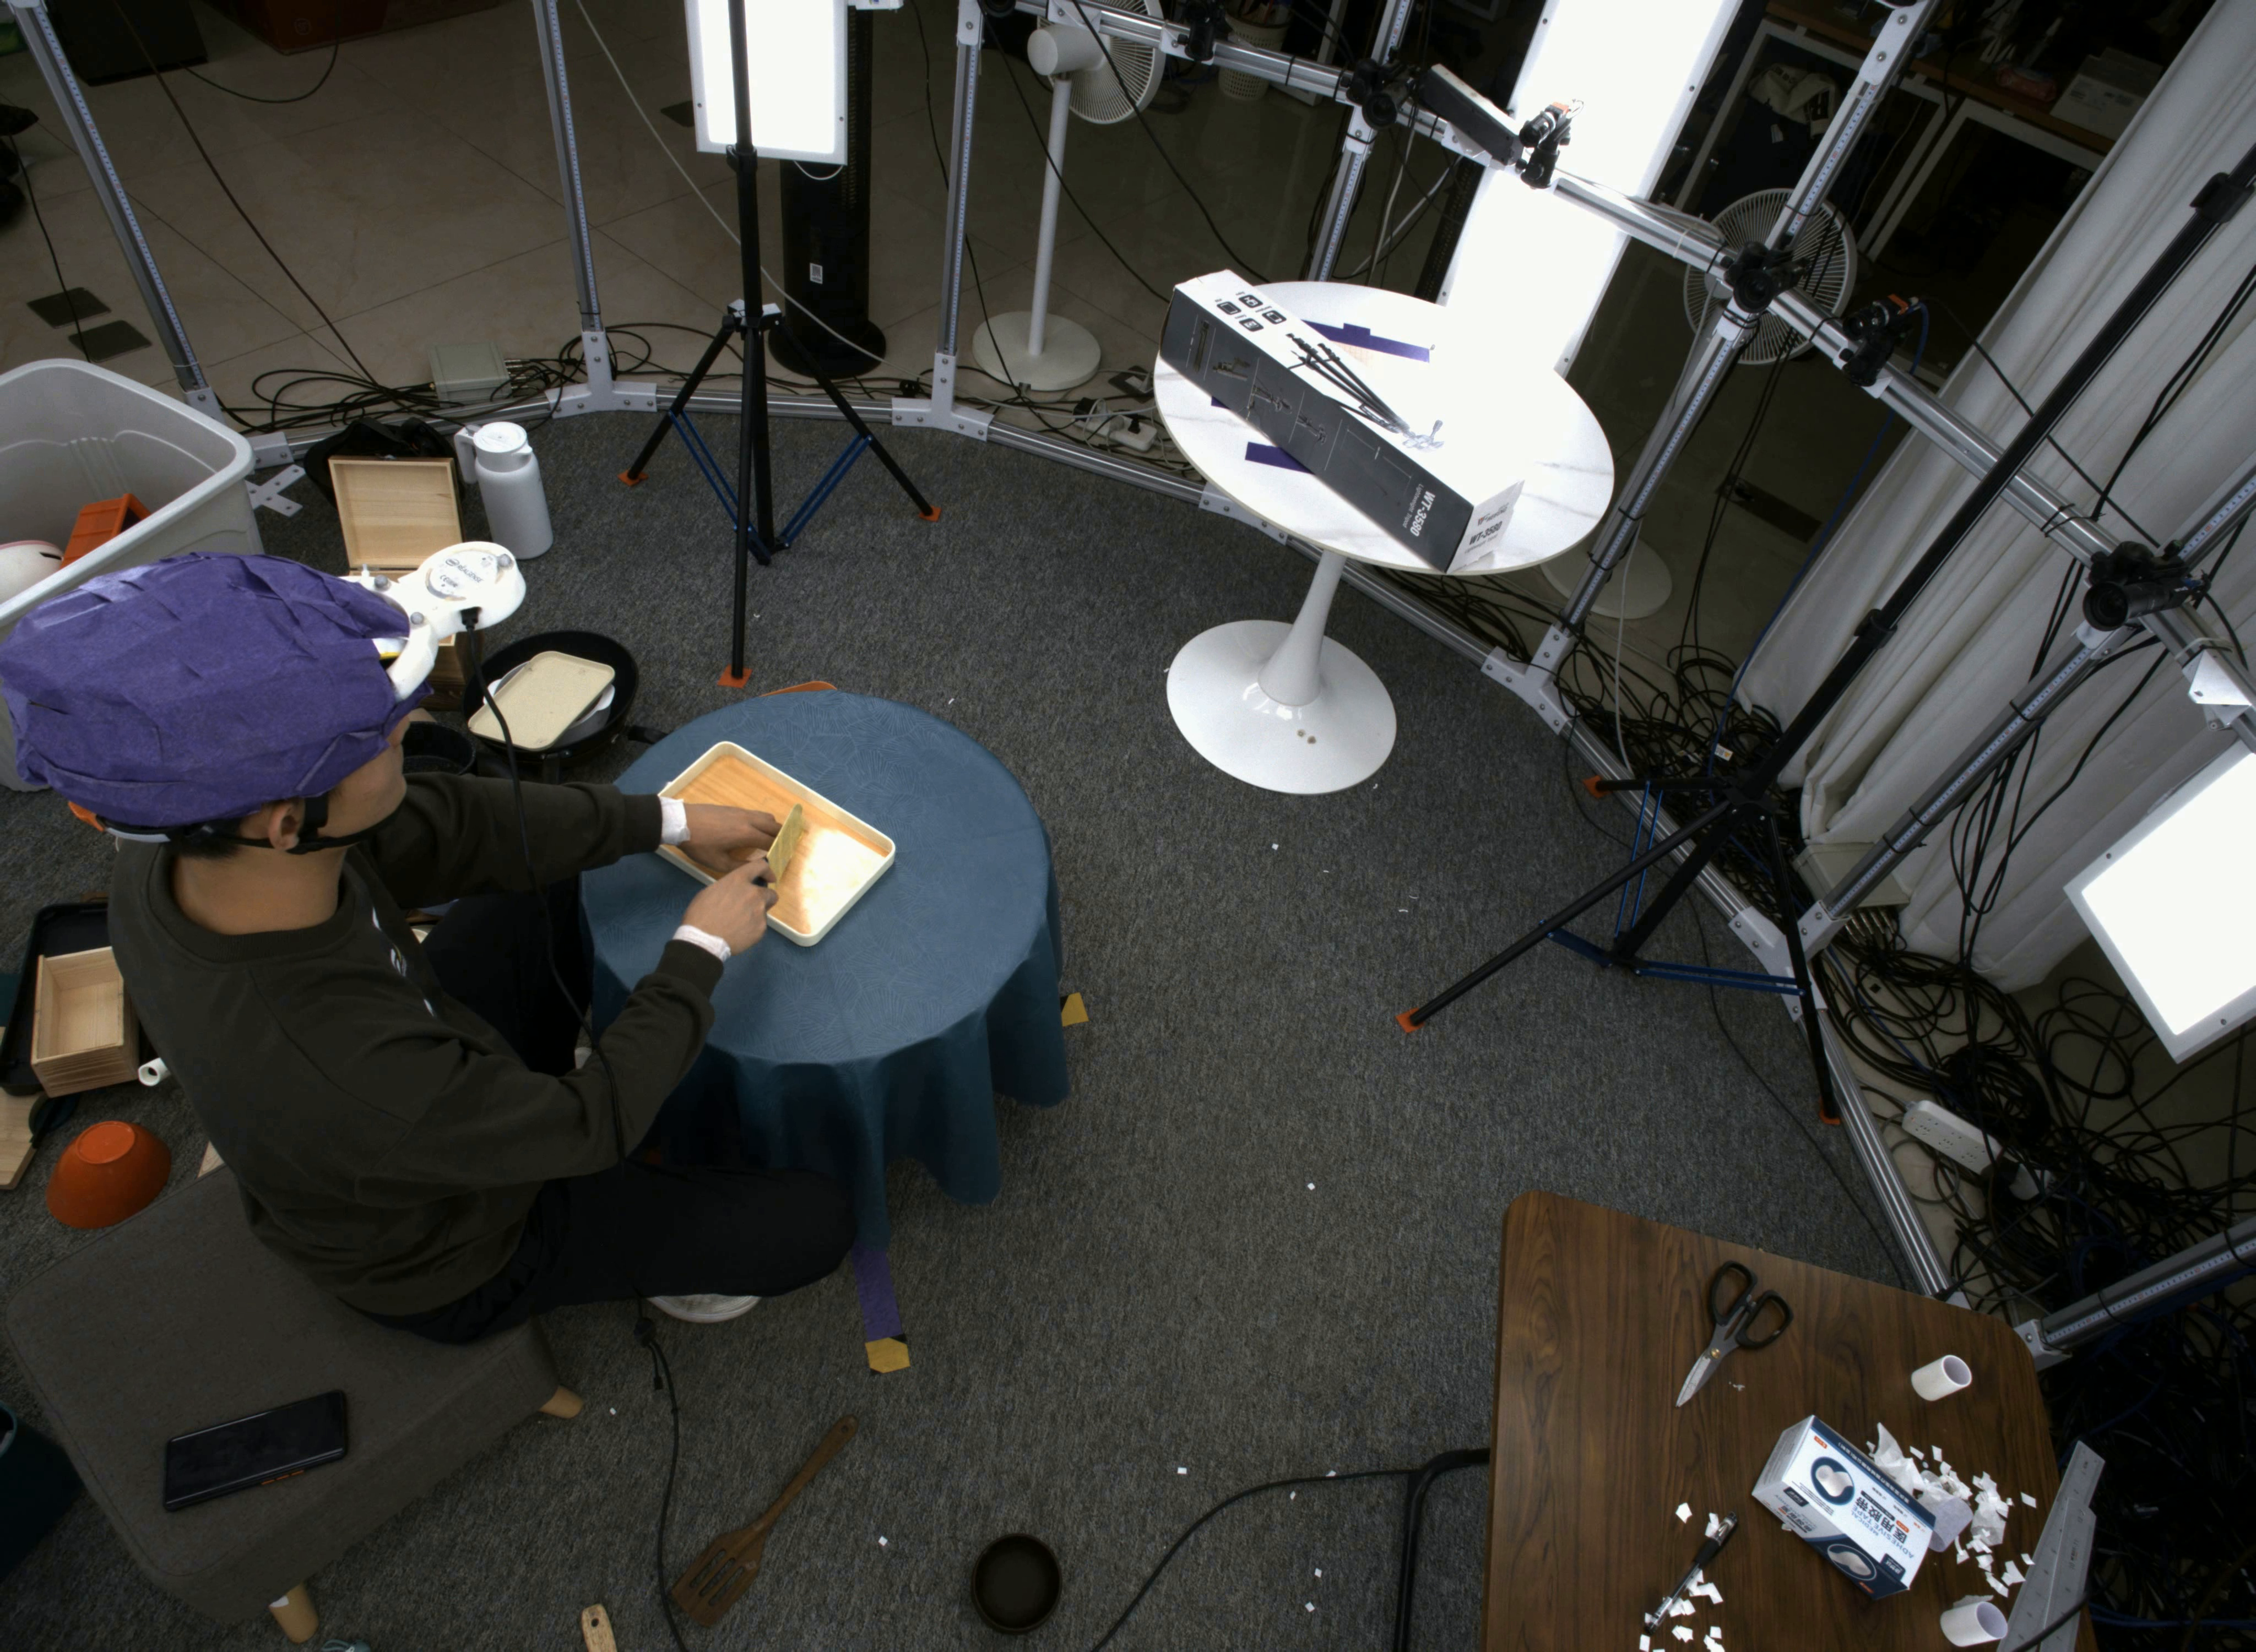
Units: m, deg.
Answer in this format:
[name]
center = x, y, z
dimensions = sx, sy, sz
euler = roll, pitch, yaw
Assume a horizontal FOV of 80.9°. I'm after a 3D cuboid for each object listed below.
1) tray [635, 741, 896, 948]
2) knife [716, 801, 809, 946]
[tray]
center = -0.474, 0.018, 1.692
dimensions = 0.295, 0.028, 0.191
euler = 31, 54, 9
[knife]
center = -0.444, 0.058, 1.599
dimensions = 0.027, 0.083, 0.285
euler = 9, 35, 4
